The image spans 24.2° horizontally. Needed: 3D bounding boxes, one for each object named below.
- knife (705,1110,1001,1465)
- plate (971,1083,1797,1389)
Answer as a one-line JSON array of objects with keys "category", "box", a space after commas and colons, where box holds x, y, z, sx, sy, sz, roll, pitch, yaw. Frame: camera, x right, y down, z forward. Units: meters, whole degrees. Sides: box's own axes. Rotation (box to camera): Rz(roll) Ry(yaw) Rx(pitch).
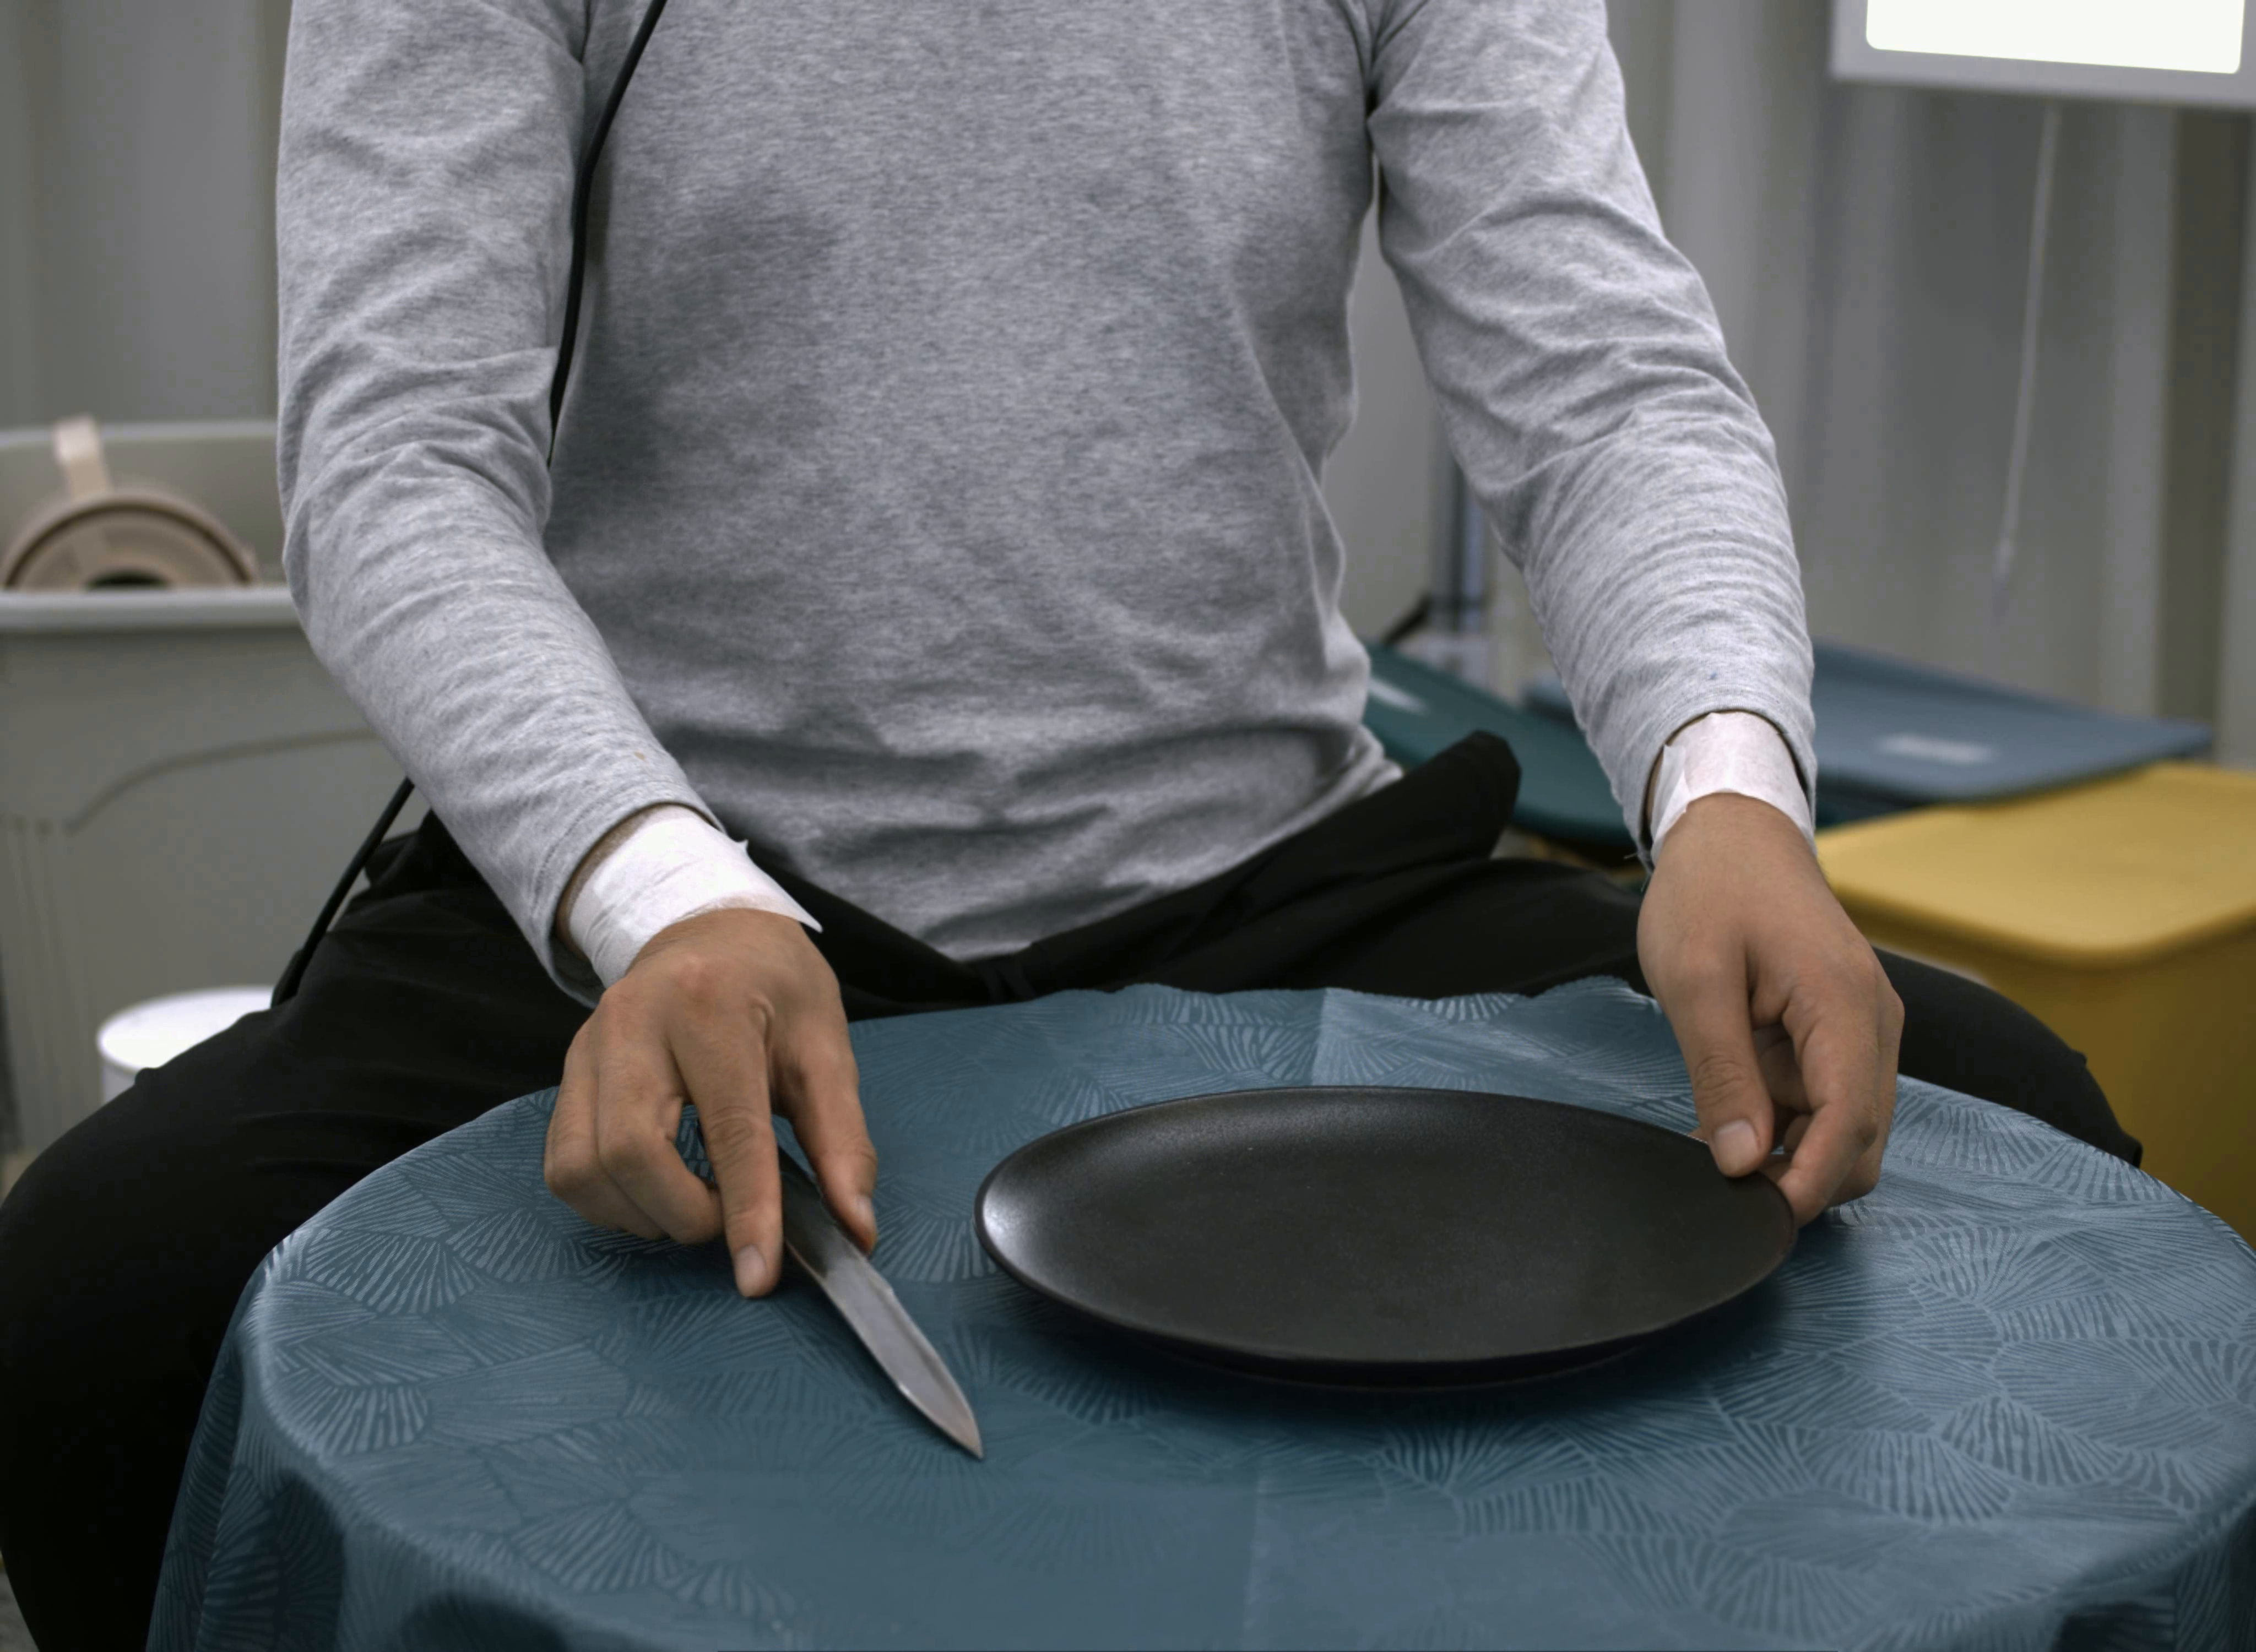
[{"category": "knife", "box": [-0.081, 0.131, 1.512, 0.024, 0.016, 0.235, 2, 19, -24]}, {"category": "plate", "box": [0.075, 0.123, 1.548, 0.243, 0.023, 0.243, 1, 15, 0]}]
